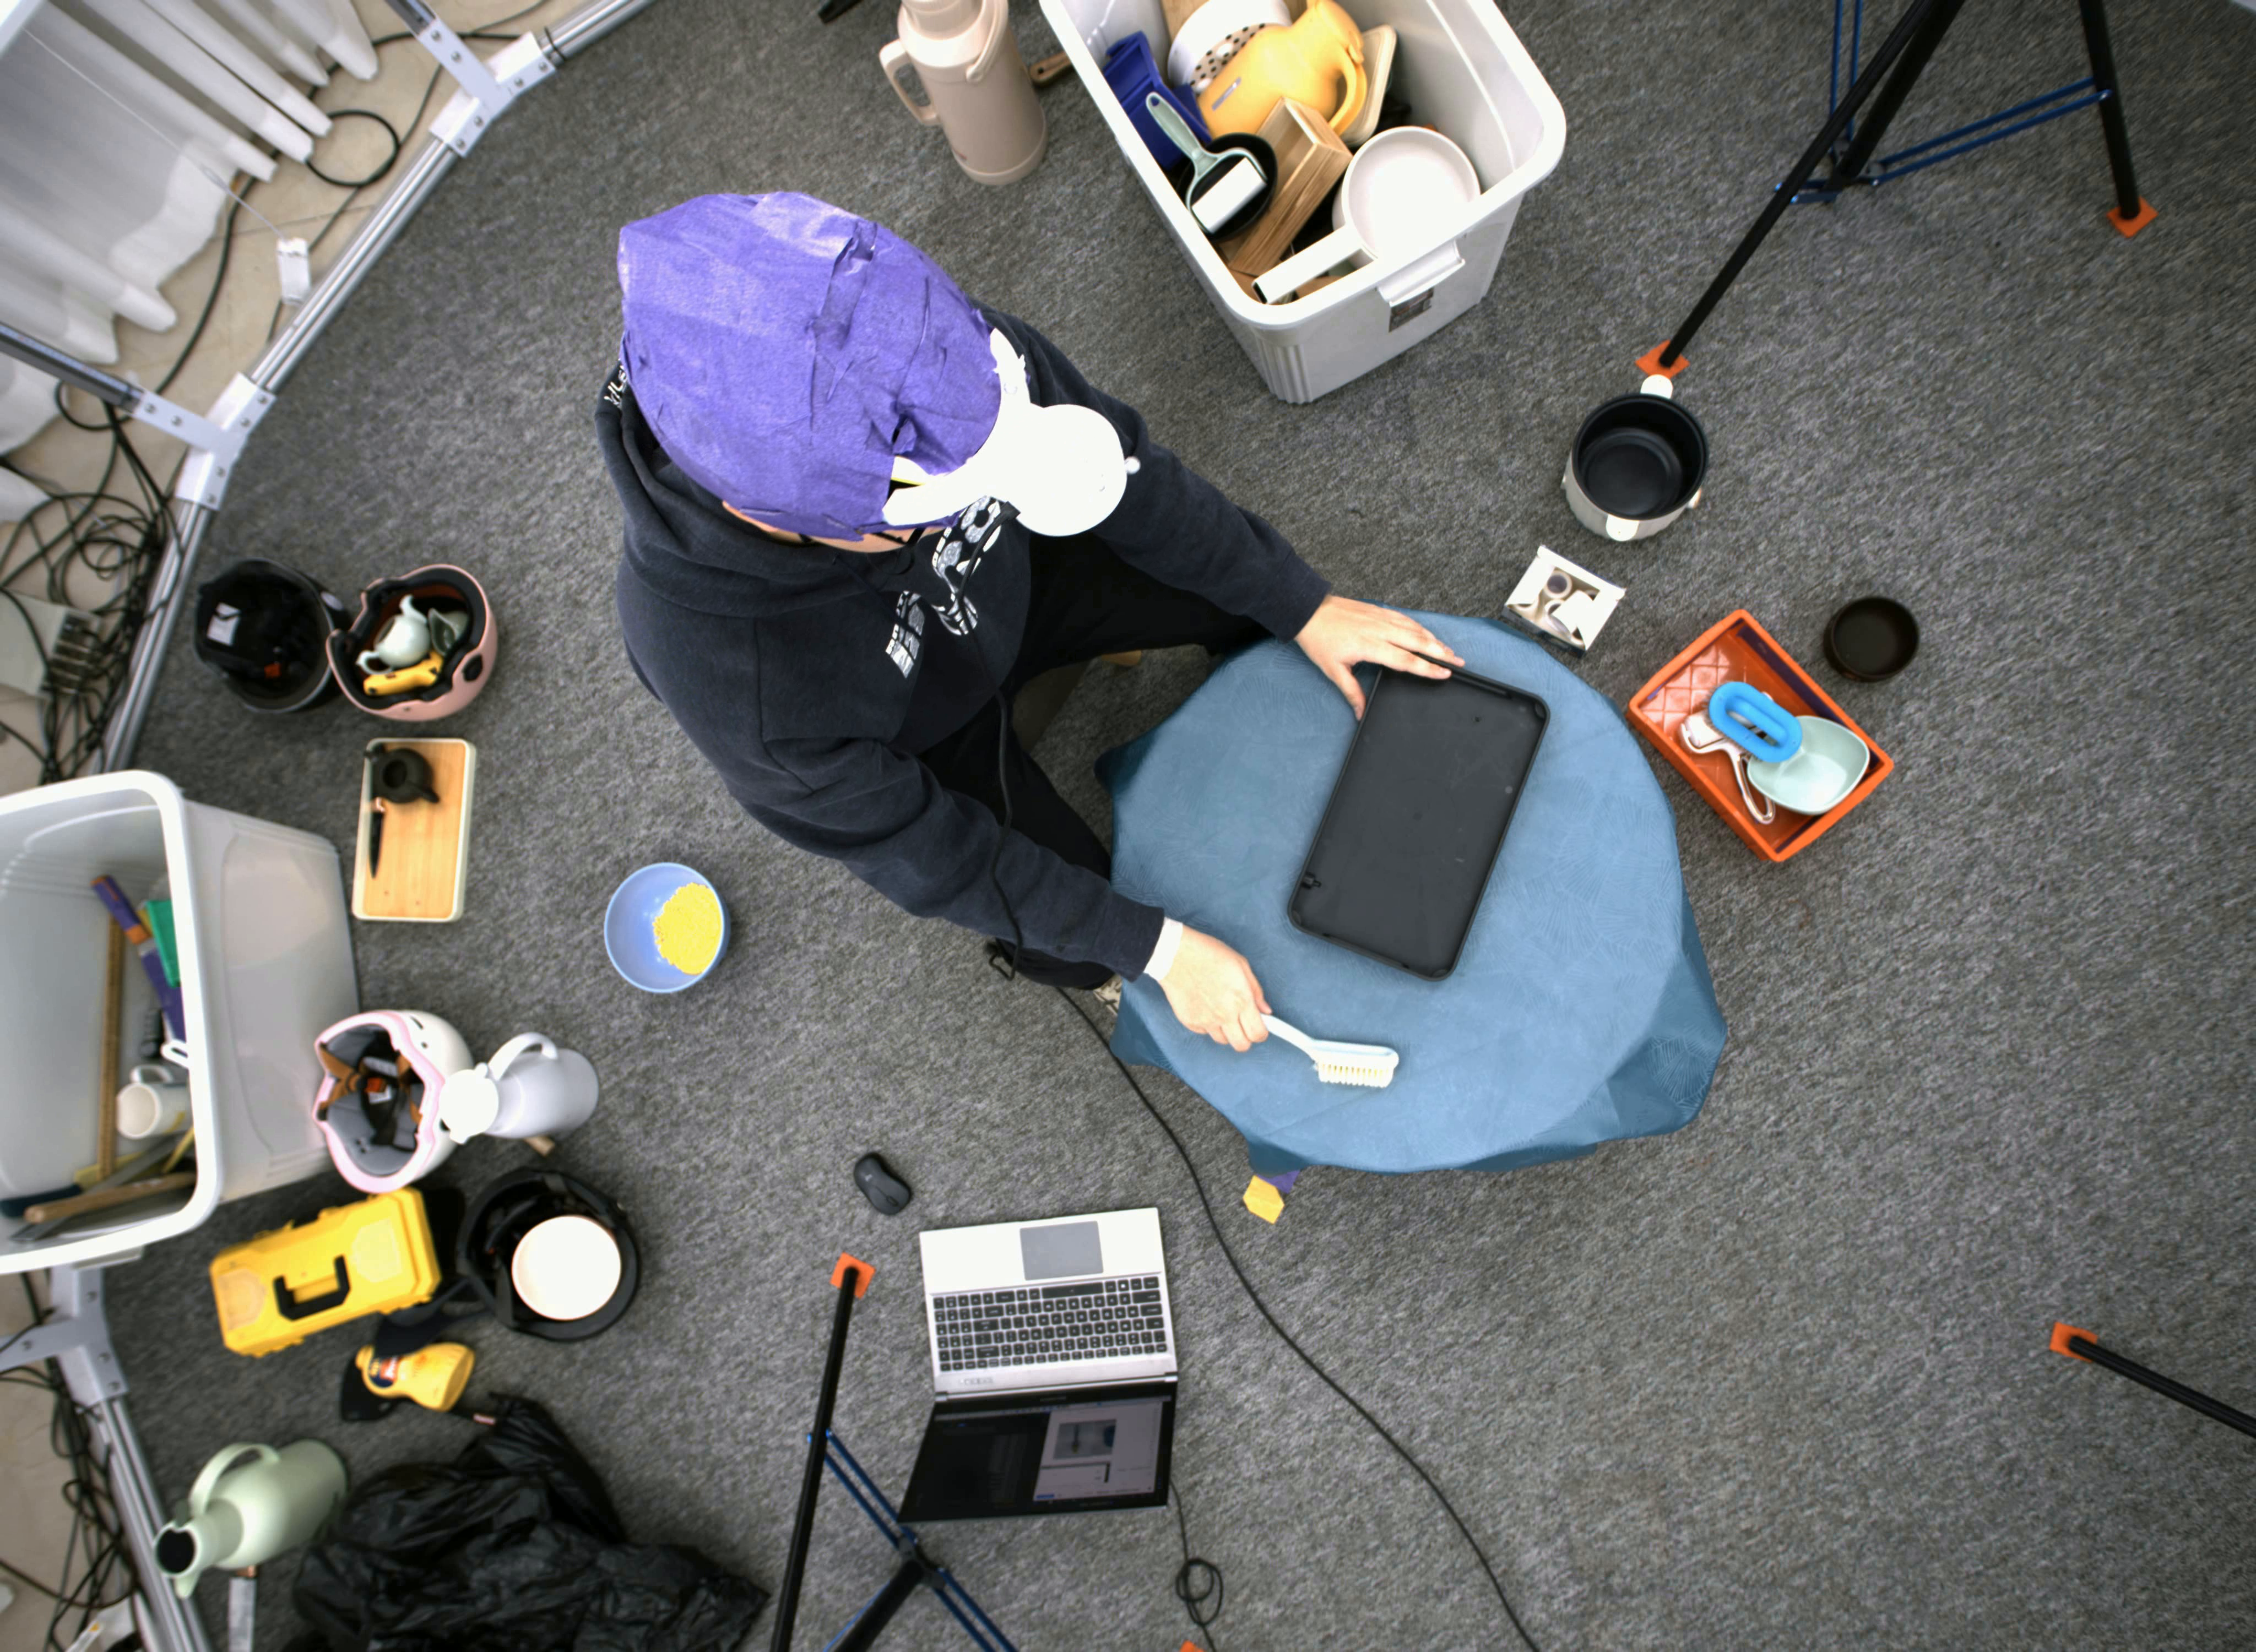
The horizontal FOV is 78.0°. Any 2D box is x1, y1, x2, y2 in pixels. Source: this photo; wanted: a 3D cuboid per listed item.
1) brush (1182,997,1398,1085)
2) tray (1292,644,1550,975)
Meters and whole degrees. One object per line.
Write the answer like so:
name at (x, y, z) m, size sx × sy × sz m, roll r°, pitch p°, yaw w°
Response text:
brush at (0.165, 0.224, 1.445) m, size 0.229 × 0.037 × 0.050 m, roll 17°, pitch 110°, yaw 6°
tray at (0.306, -0.019, 1.441) m, size 0.184 × 0.037 × 0.318 m, roll 20°, pitch 91°, yaw 12°
